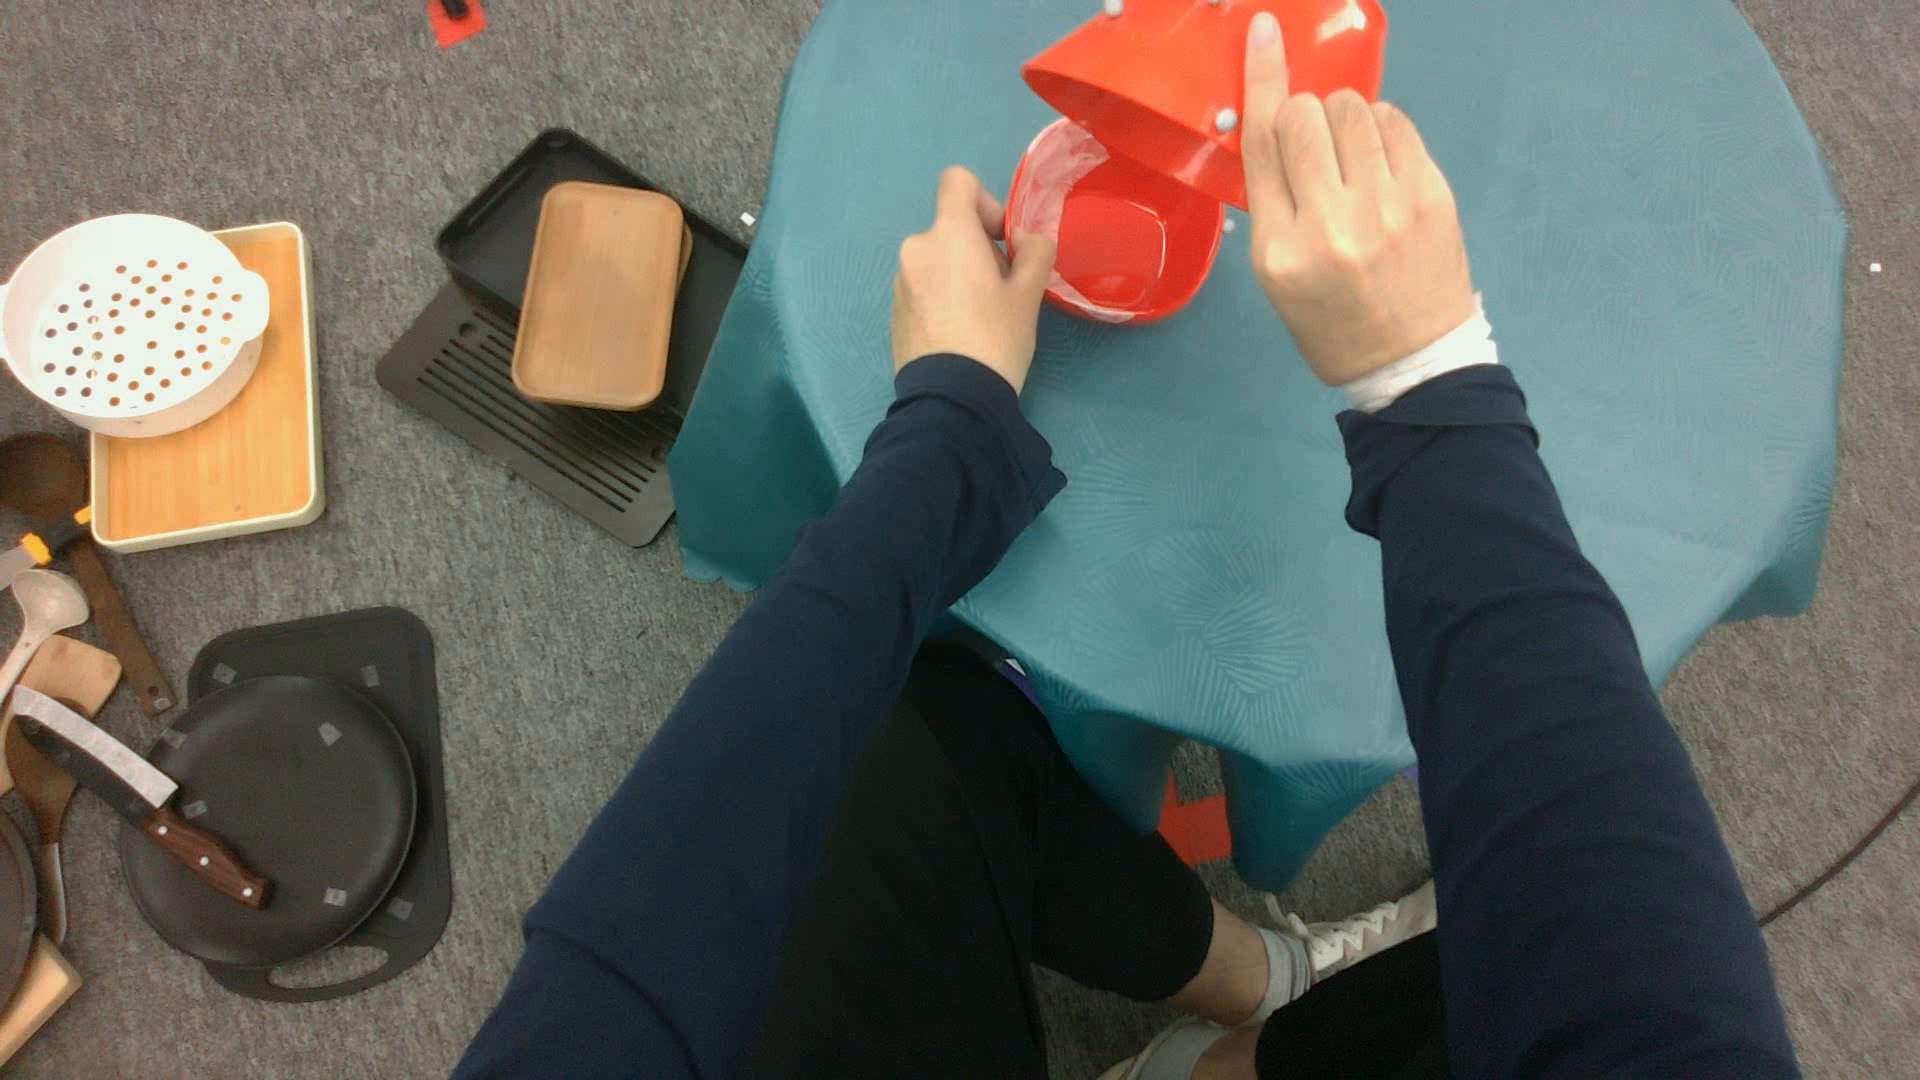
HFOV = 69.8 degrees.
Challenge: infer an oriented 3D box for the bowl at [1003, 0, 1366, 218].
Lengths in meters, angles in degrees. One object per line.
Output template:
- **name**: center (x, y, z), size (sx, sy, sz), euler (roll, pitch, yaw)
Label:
- **bowl**: center (0.108, -0.208, 0.595), size (0.148, 0.148, 0.104), euler (37, 96, 7)

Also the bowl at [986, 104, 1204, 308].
- **bowl**: center (0.067, -0.167, 0.724), size (0.119, 0.051, 0.119), euler (2, 72, -5)
